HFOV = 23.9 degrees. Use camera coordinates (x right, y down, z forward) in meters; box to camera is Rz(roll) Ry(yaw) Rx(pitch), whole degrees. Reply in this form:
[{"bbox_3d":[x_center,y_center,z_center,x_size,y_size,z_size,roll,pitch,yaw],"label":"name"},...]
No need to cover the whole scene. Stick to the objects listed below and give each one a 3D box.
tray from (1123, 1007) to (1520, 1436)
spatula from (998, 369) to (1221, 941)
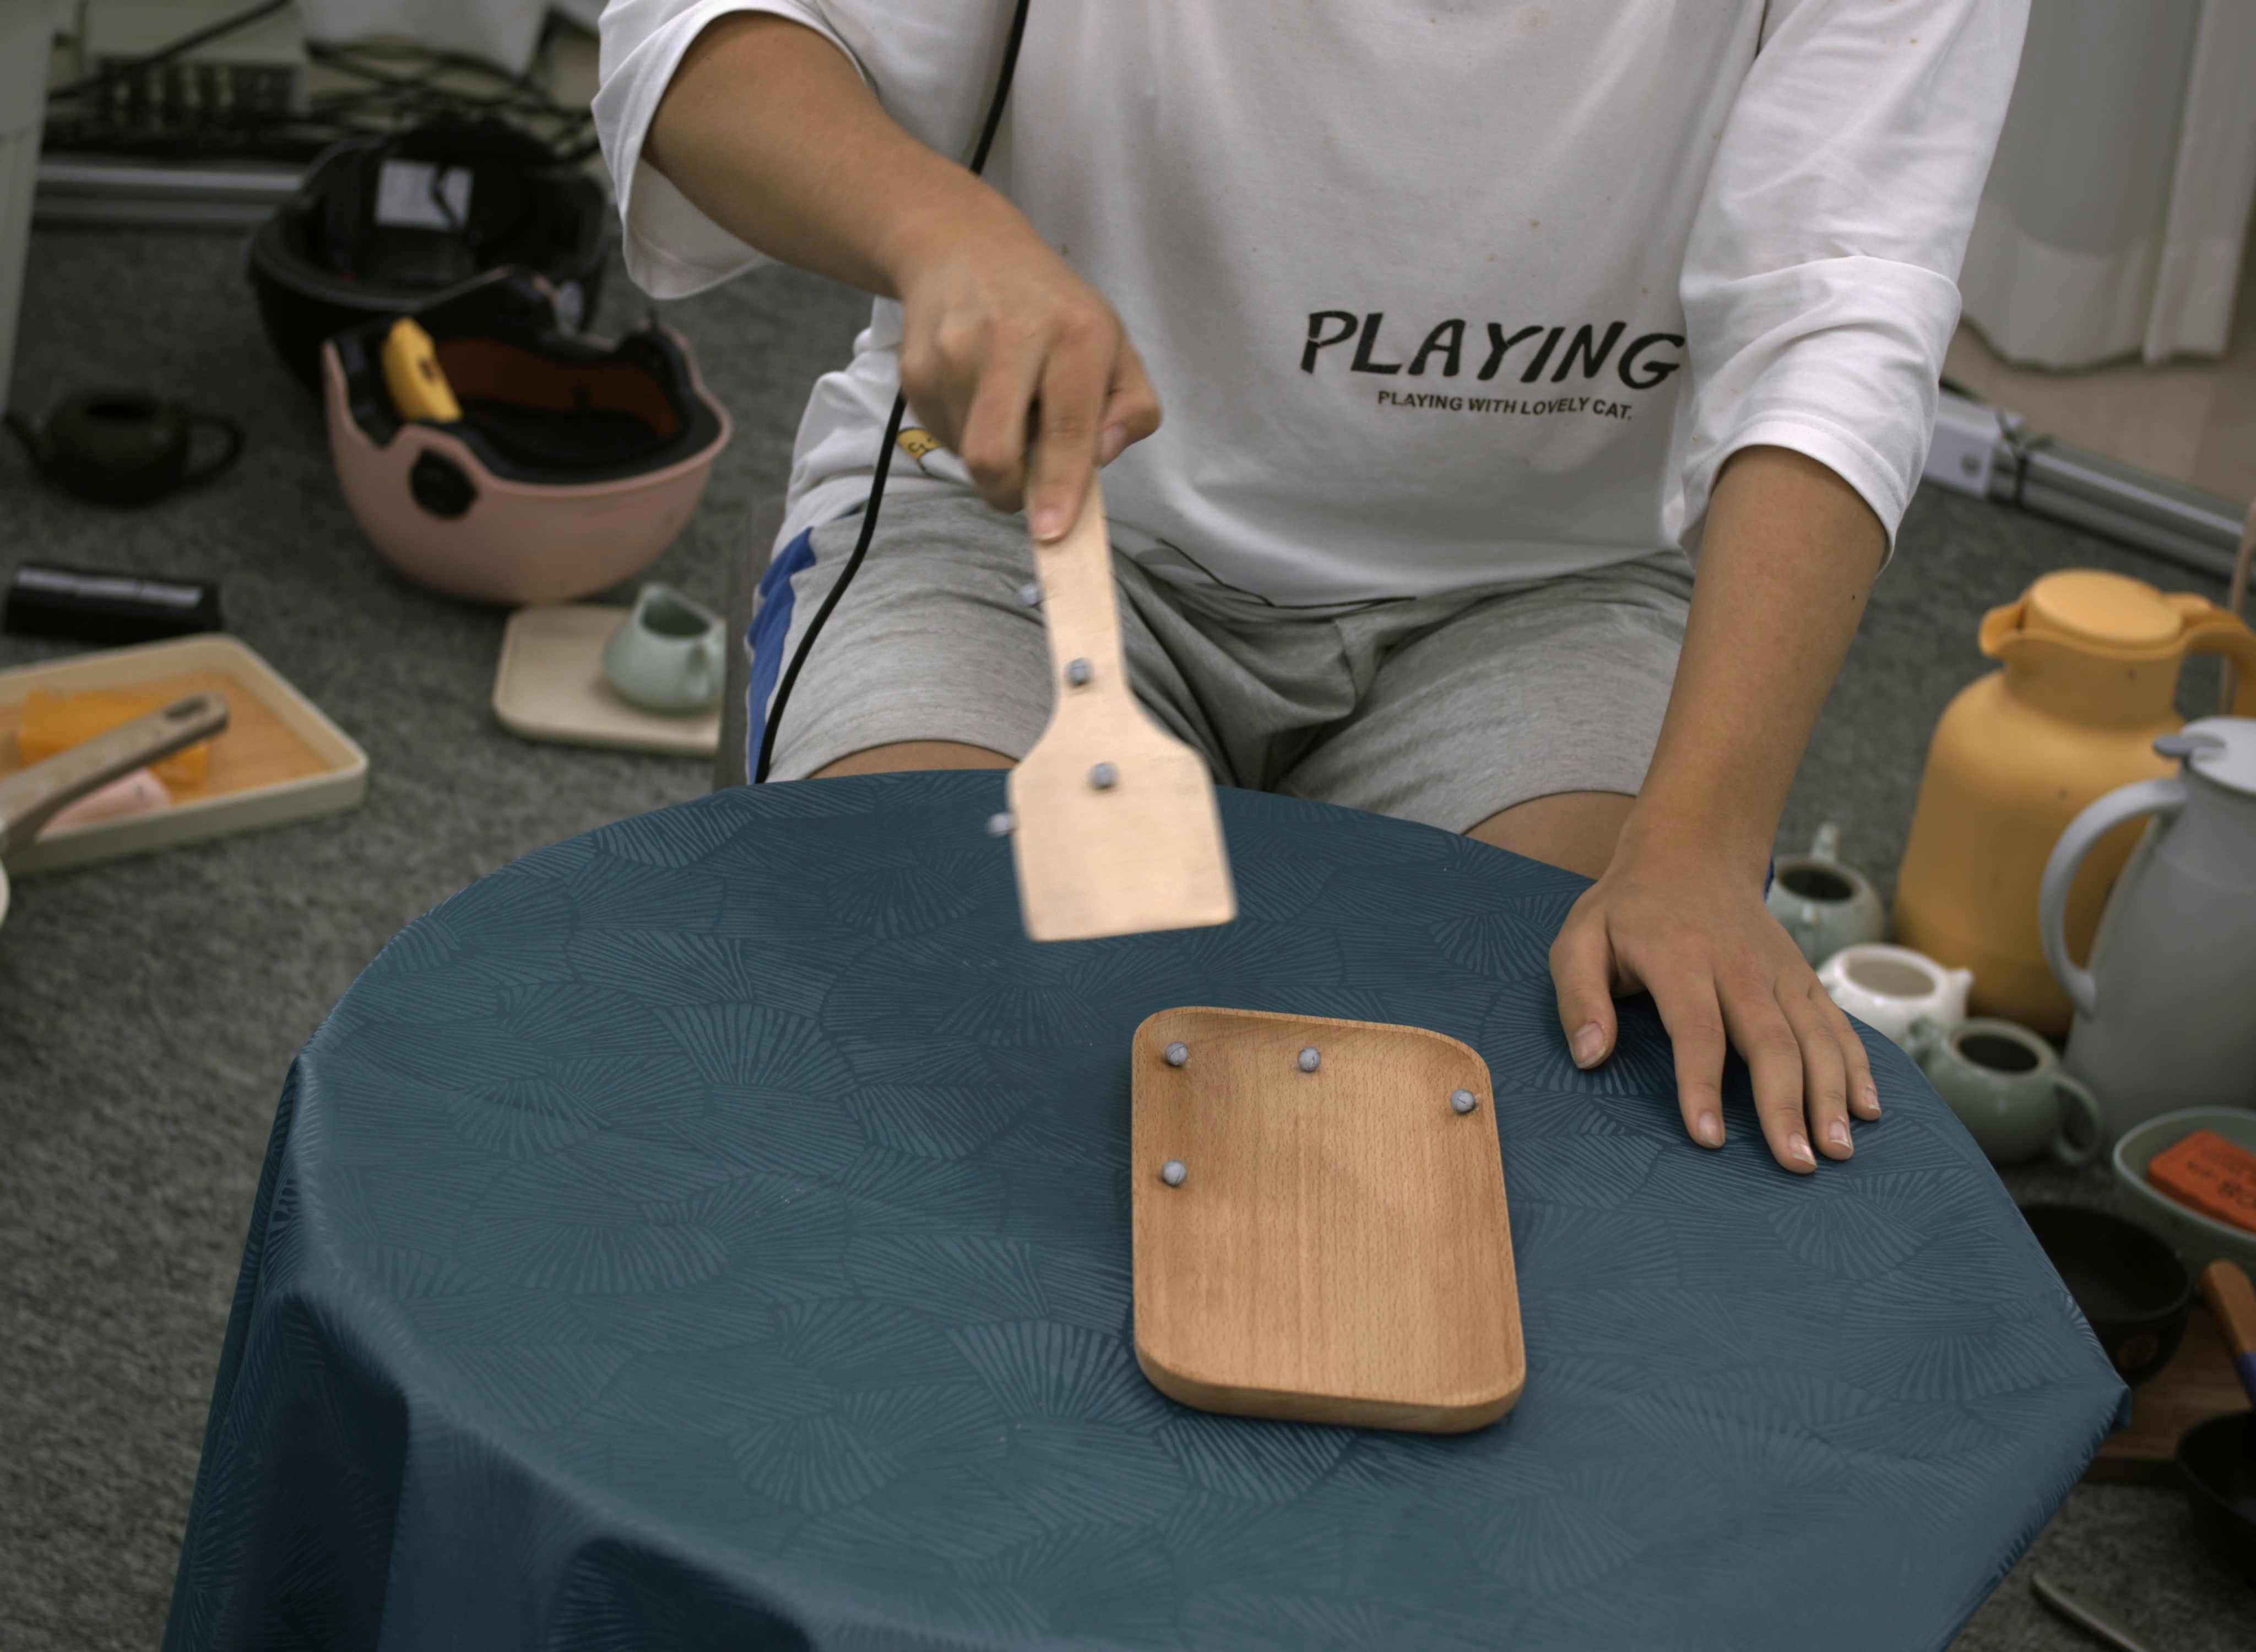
[{"bbox_3d":[0.063,0.130,1.790,0.130,0.023,0.252,4,27,0],"label":"tray"},{"bbox_3d":[-0.020,-0.065,1.886,0.072,0.010,0.296,-6,45,-3],"label":"spatula"}]
